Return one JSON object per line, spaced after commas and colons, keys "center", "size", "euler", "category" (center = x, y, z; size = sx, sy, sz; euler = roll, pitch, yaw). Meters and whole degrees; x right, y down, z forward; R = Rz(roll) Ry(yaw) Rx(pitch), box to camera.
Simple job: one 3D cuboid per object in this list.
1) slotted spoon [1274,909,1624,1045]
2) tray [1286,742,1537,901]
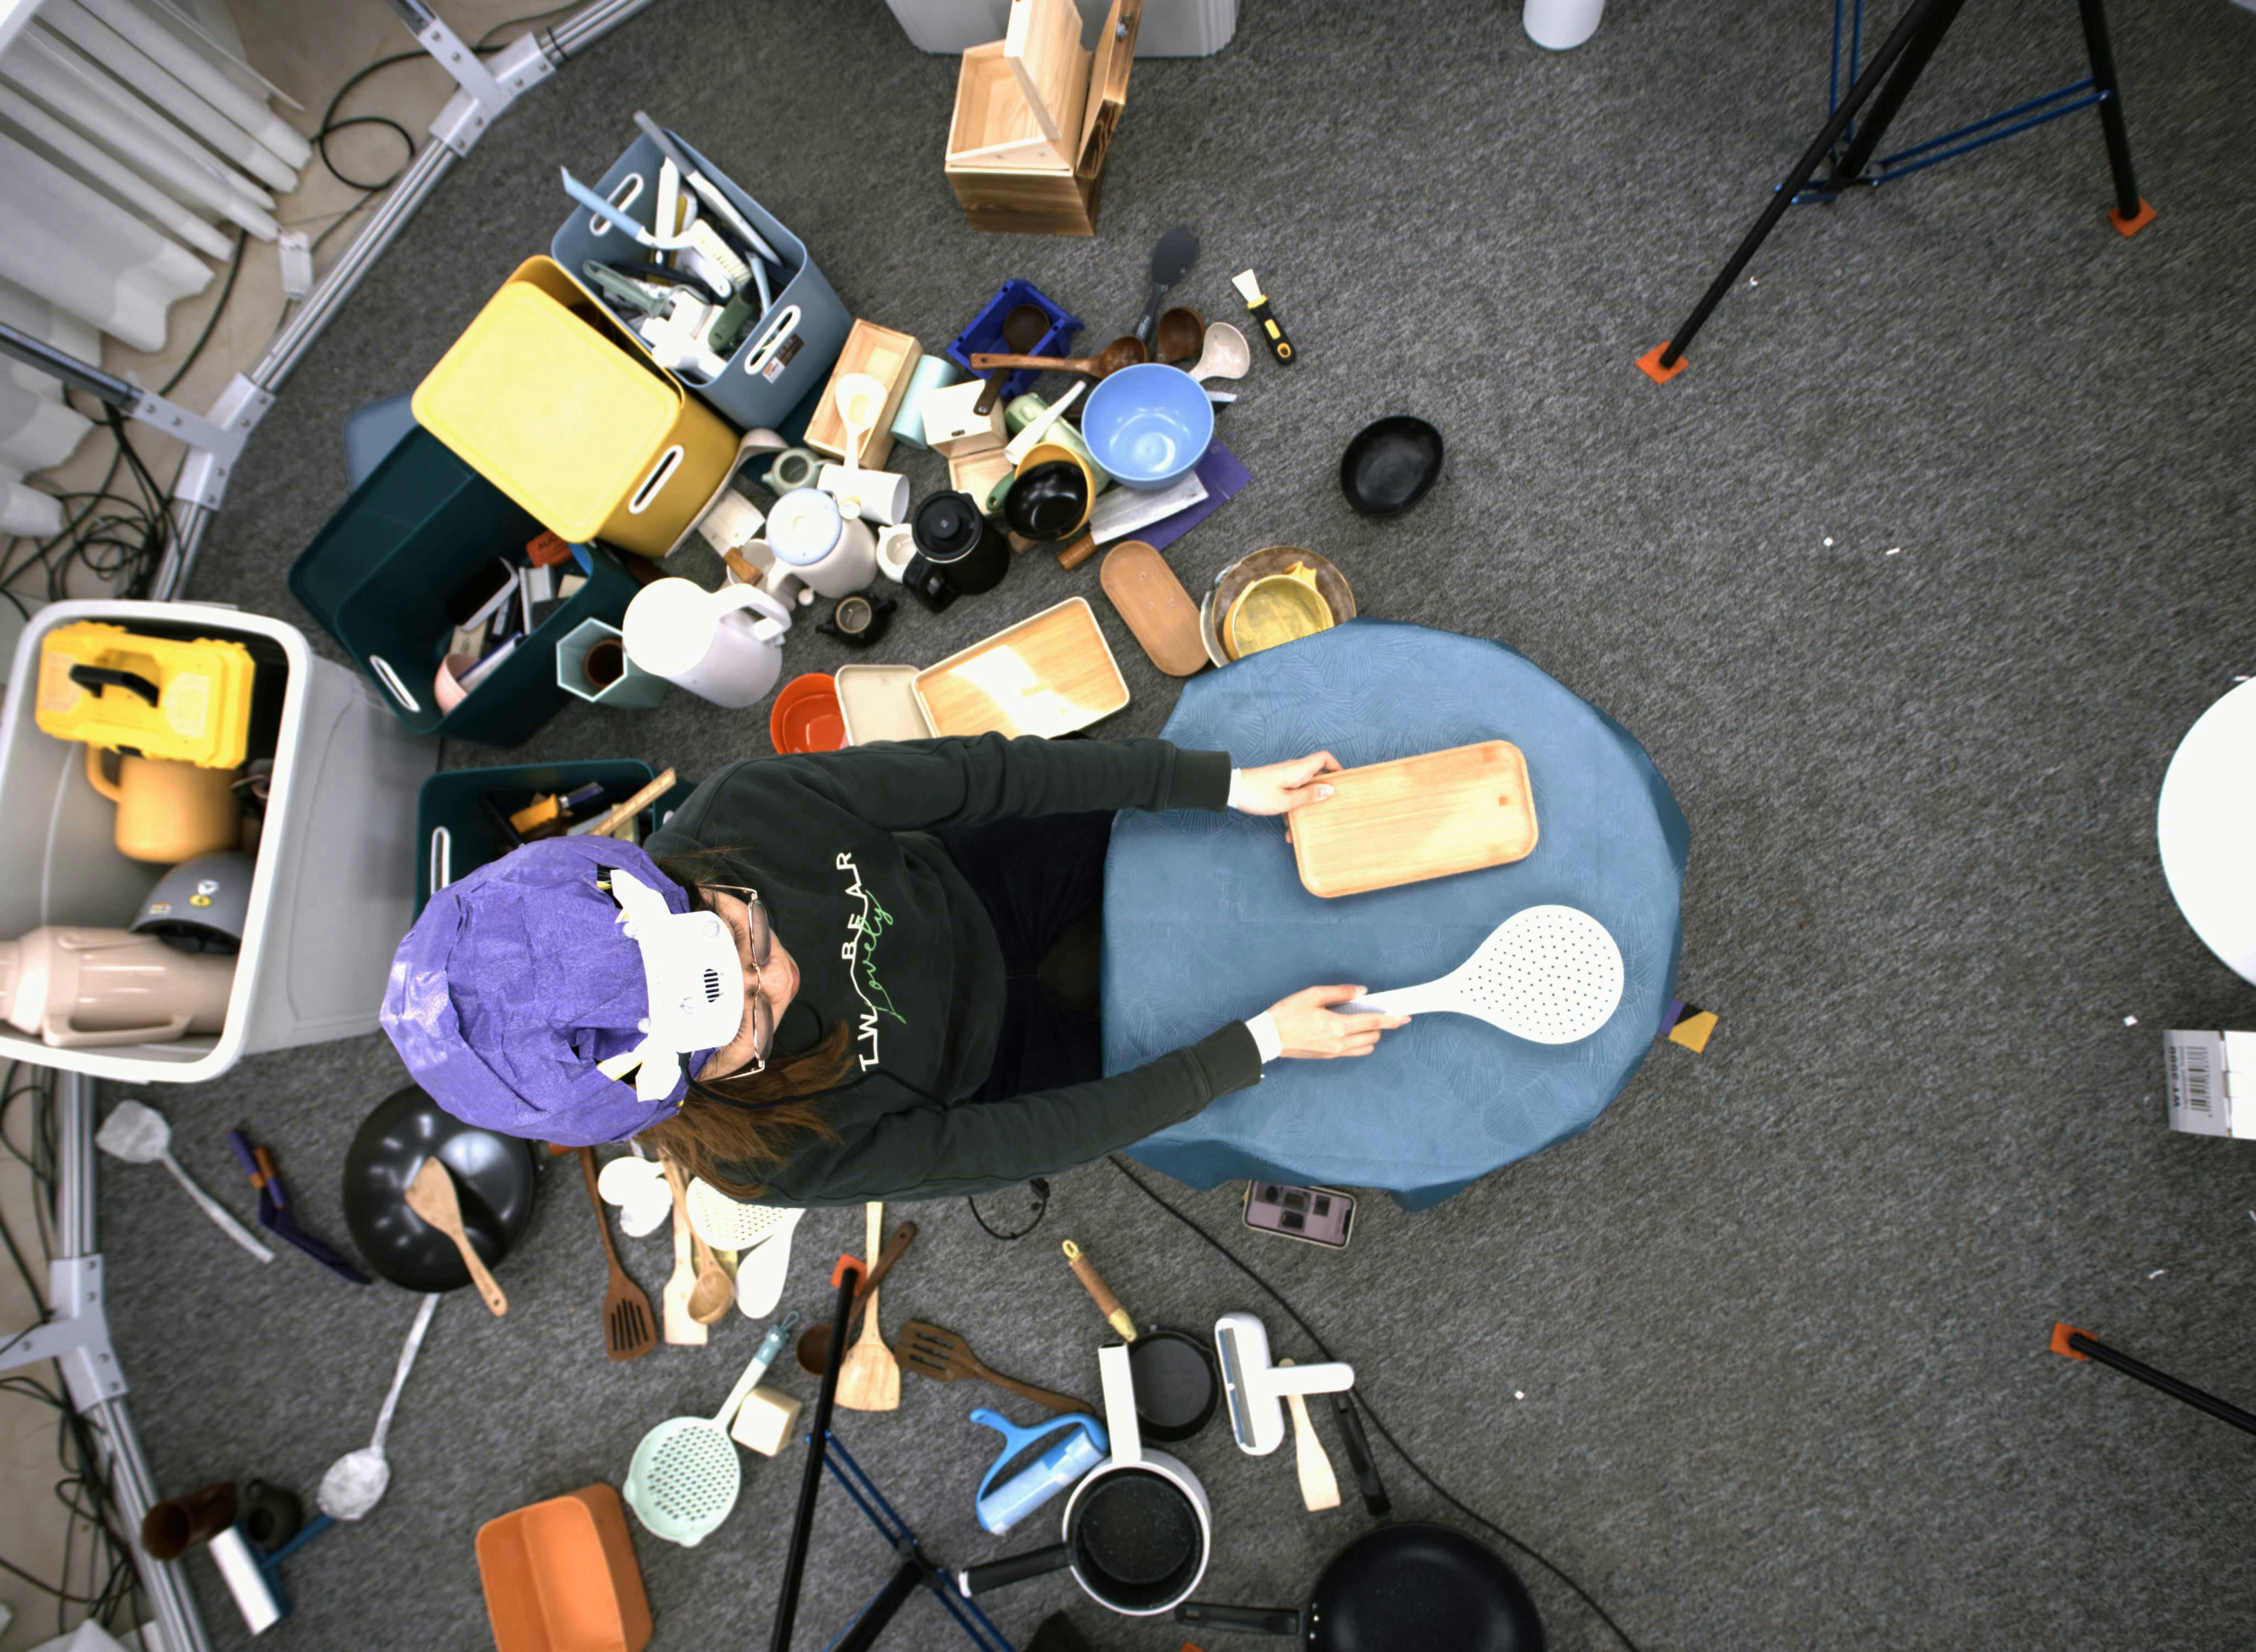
{"center": [0.322, 0.172, 1.402], "size": [0.351, 0.046, 0.135], "euler": [-11, 80, 7], "category": "slotted spoon"}
{"center": [0.293, -0.006, 1.426], "size": [0.251, 0.023, 0.131], "euler": [-11, 93, 3], "category": "tray"}
